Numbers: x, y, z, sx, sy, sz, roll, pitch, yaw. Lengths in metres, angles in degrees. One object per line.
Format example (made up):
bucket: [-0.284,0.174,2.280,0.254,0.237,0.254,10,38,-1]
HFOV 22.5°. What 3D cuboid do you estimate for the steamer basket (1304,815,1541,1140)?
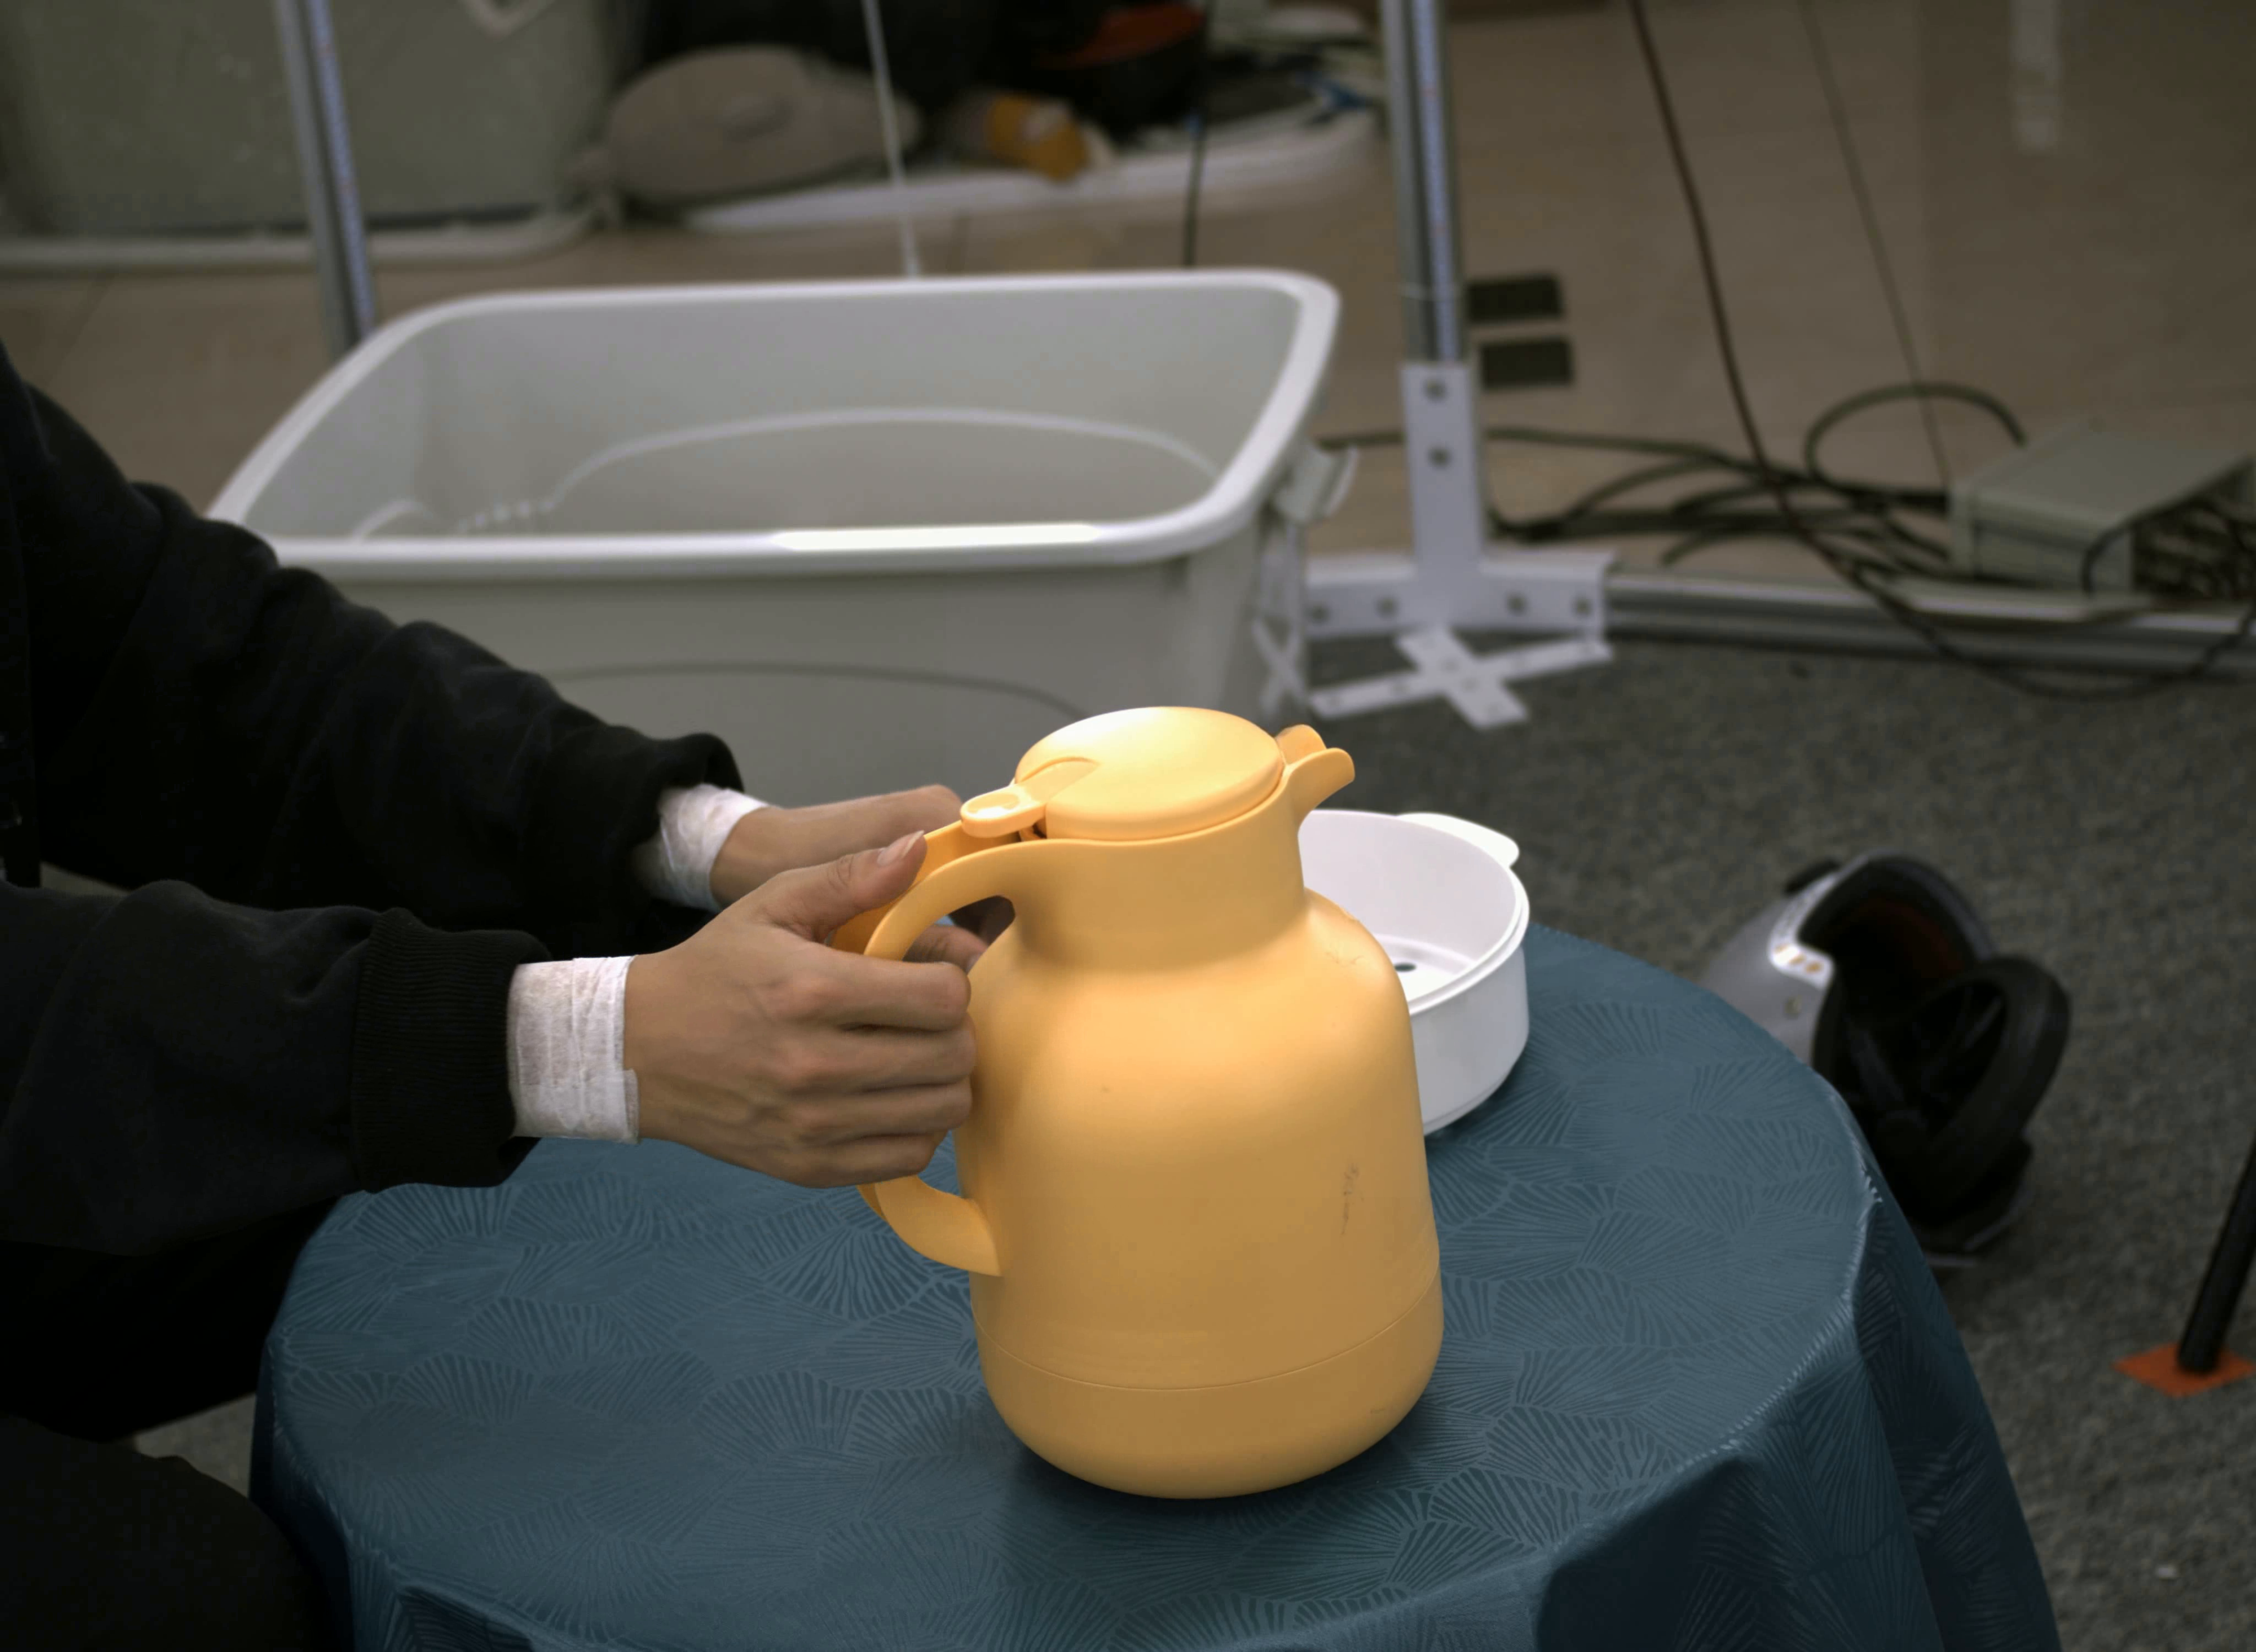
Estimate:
steamer basket: [0.063,0.063,2.215,0.229,0.070,0.200,-23,28,-36]

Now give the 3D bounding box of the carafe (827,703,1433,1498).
carafe: [-0.001,0.093,1.933,0.201,0.264,0.161,-14,24,-18]
